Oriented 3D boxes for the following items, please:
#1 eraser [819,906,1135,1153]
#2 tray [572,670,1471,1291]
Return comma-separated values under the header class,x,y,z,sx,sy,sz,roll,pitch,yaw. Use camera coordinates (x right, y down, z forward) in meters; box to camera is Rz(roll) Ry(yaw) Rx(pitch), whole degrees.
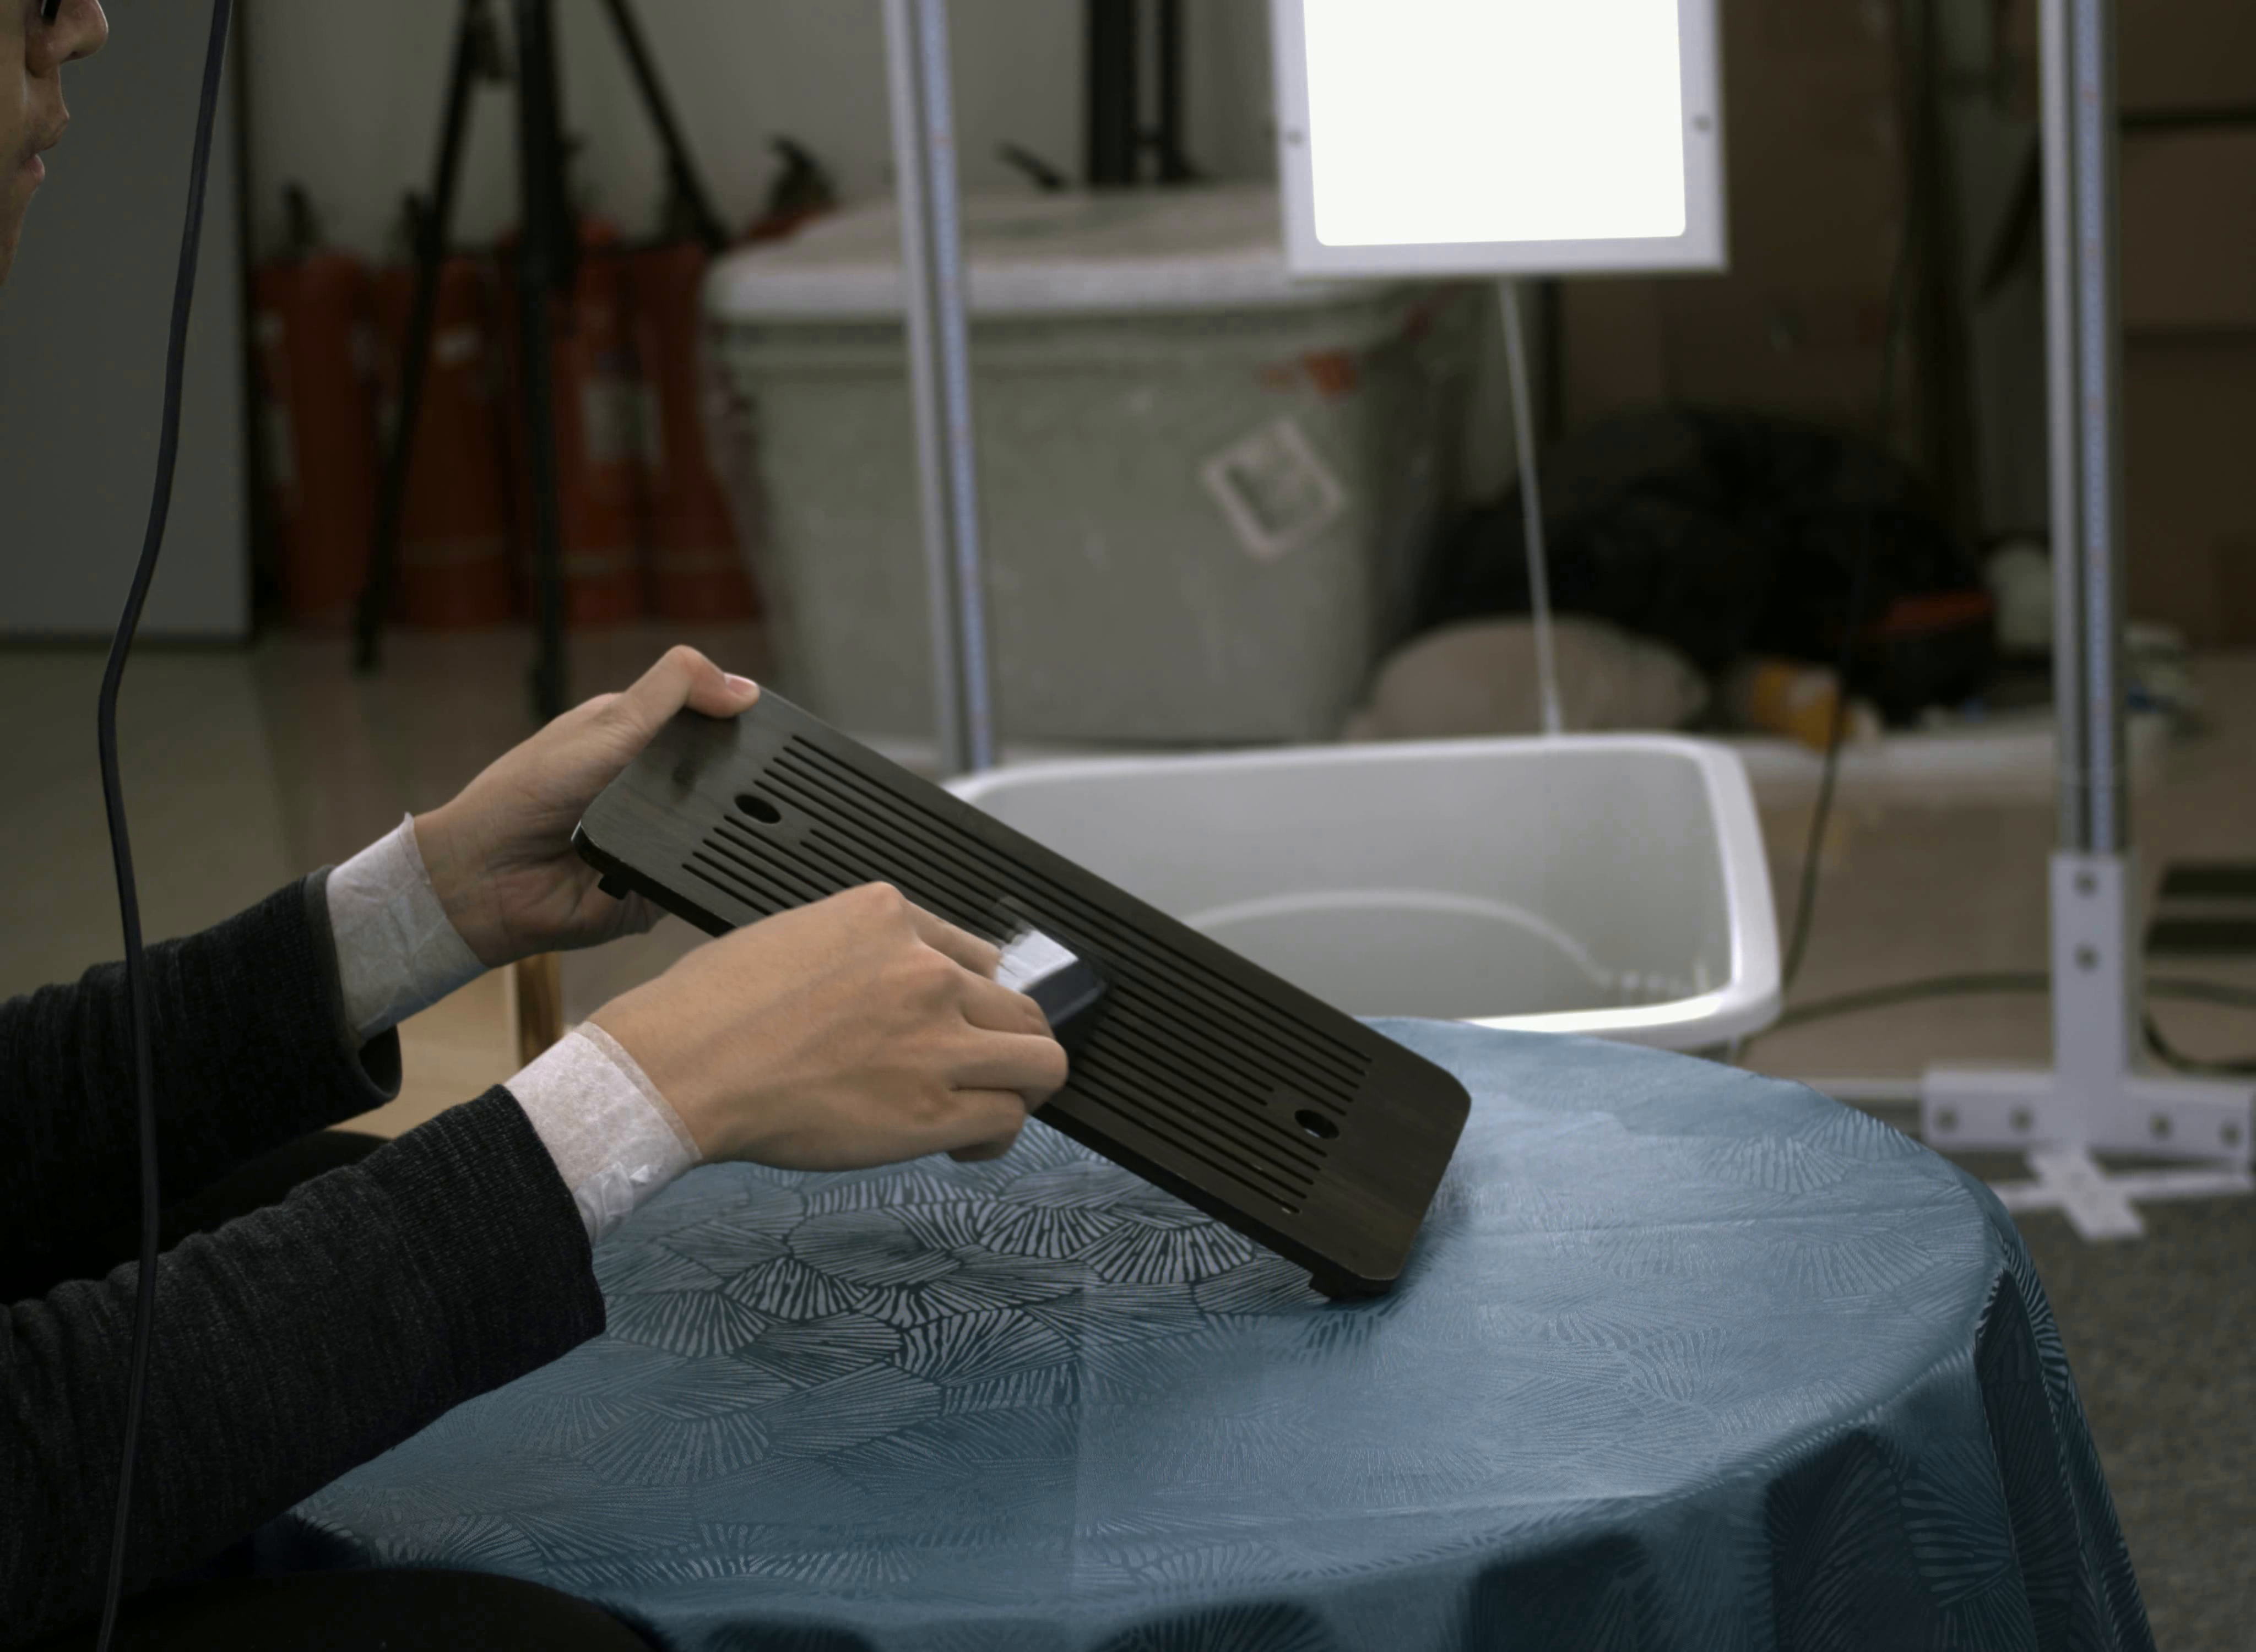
class,x,y,z,sx,sy,sz,roll,pitch,yaw
eraser,-0.048,0.063,1.760,0.054,0.031,0.123,32,27,14
tray,-0.032,0.051,1.848,0.306,0.019,0.168,29,25,4
